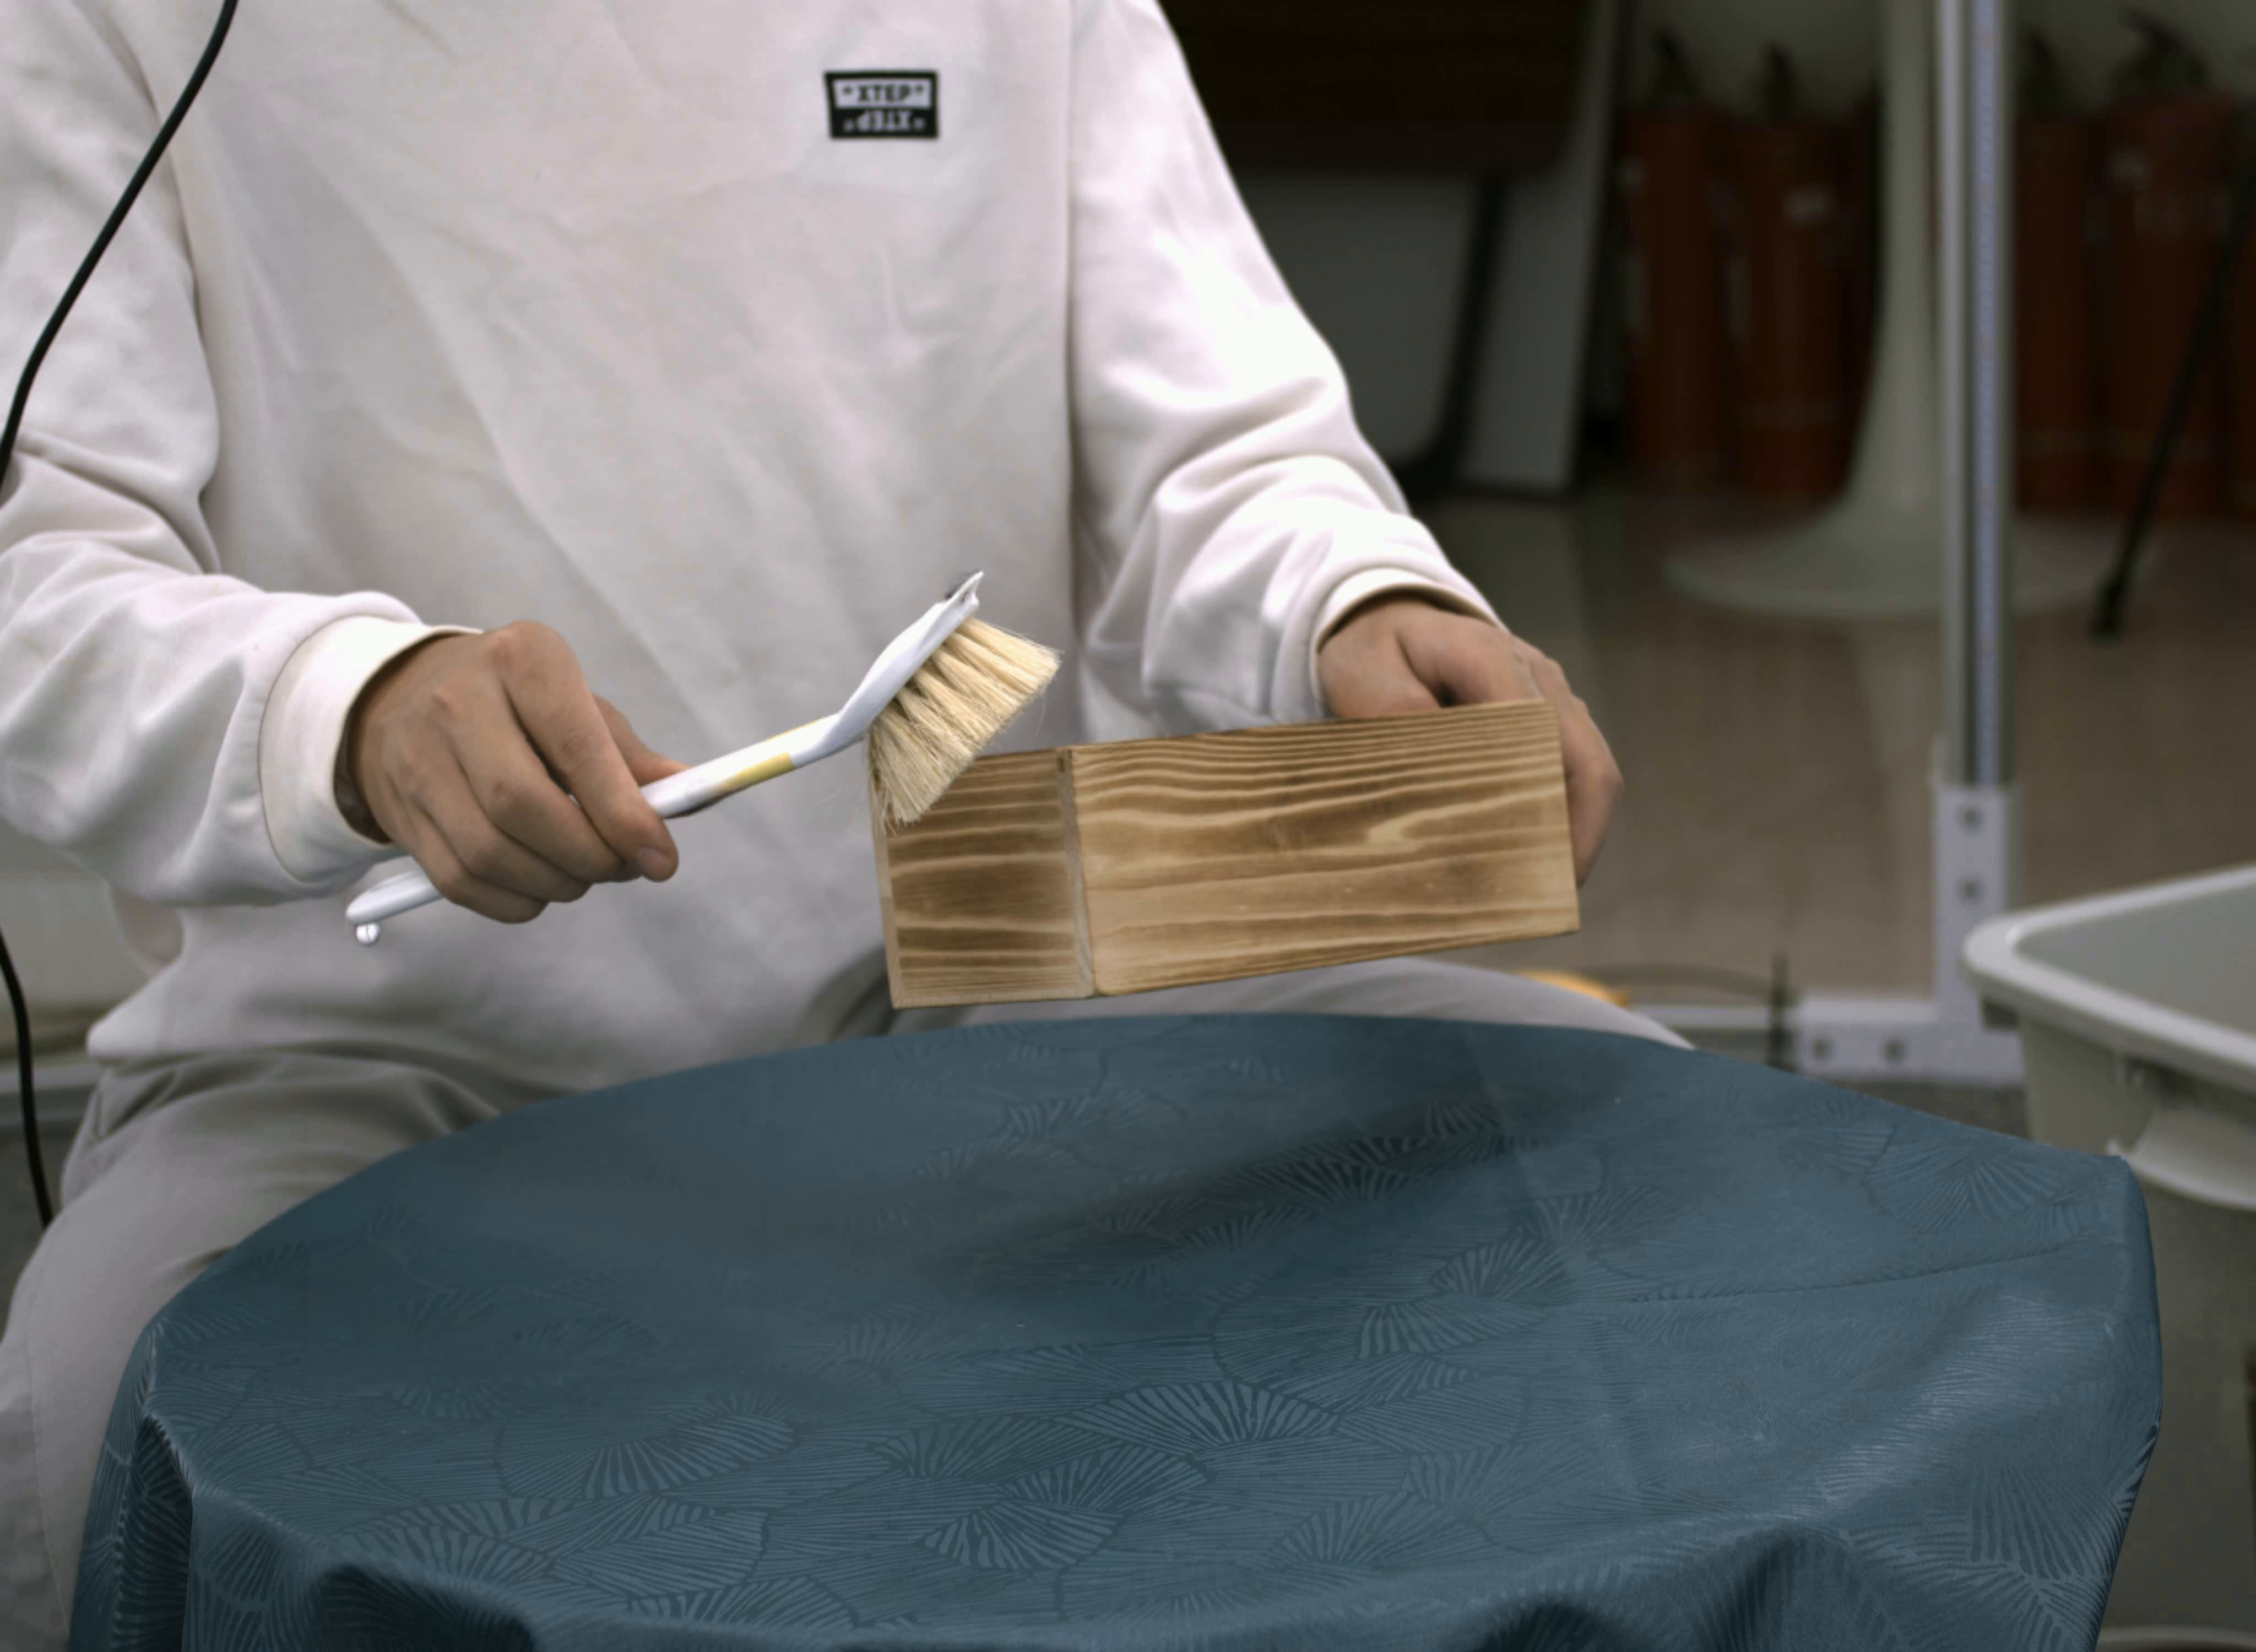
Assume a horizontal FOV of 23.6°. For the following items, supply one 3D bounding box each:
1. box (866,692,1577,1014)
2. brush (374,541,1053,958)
[{"bbox_3d":[0.032,0.008,1.755,0.206,0.081,0.108,-5,-2,-39],"label":"box"},{"bbox_3d":[-0.129,-0.002,1.670,0.268,0.056,0.067,-33,-6,30],"label":"brush"}]
